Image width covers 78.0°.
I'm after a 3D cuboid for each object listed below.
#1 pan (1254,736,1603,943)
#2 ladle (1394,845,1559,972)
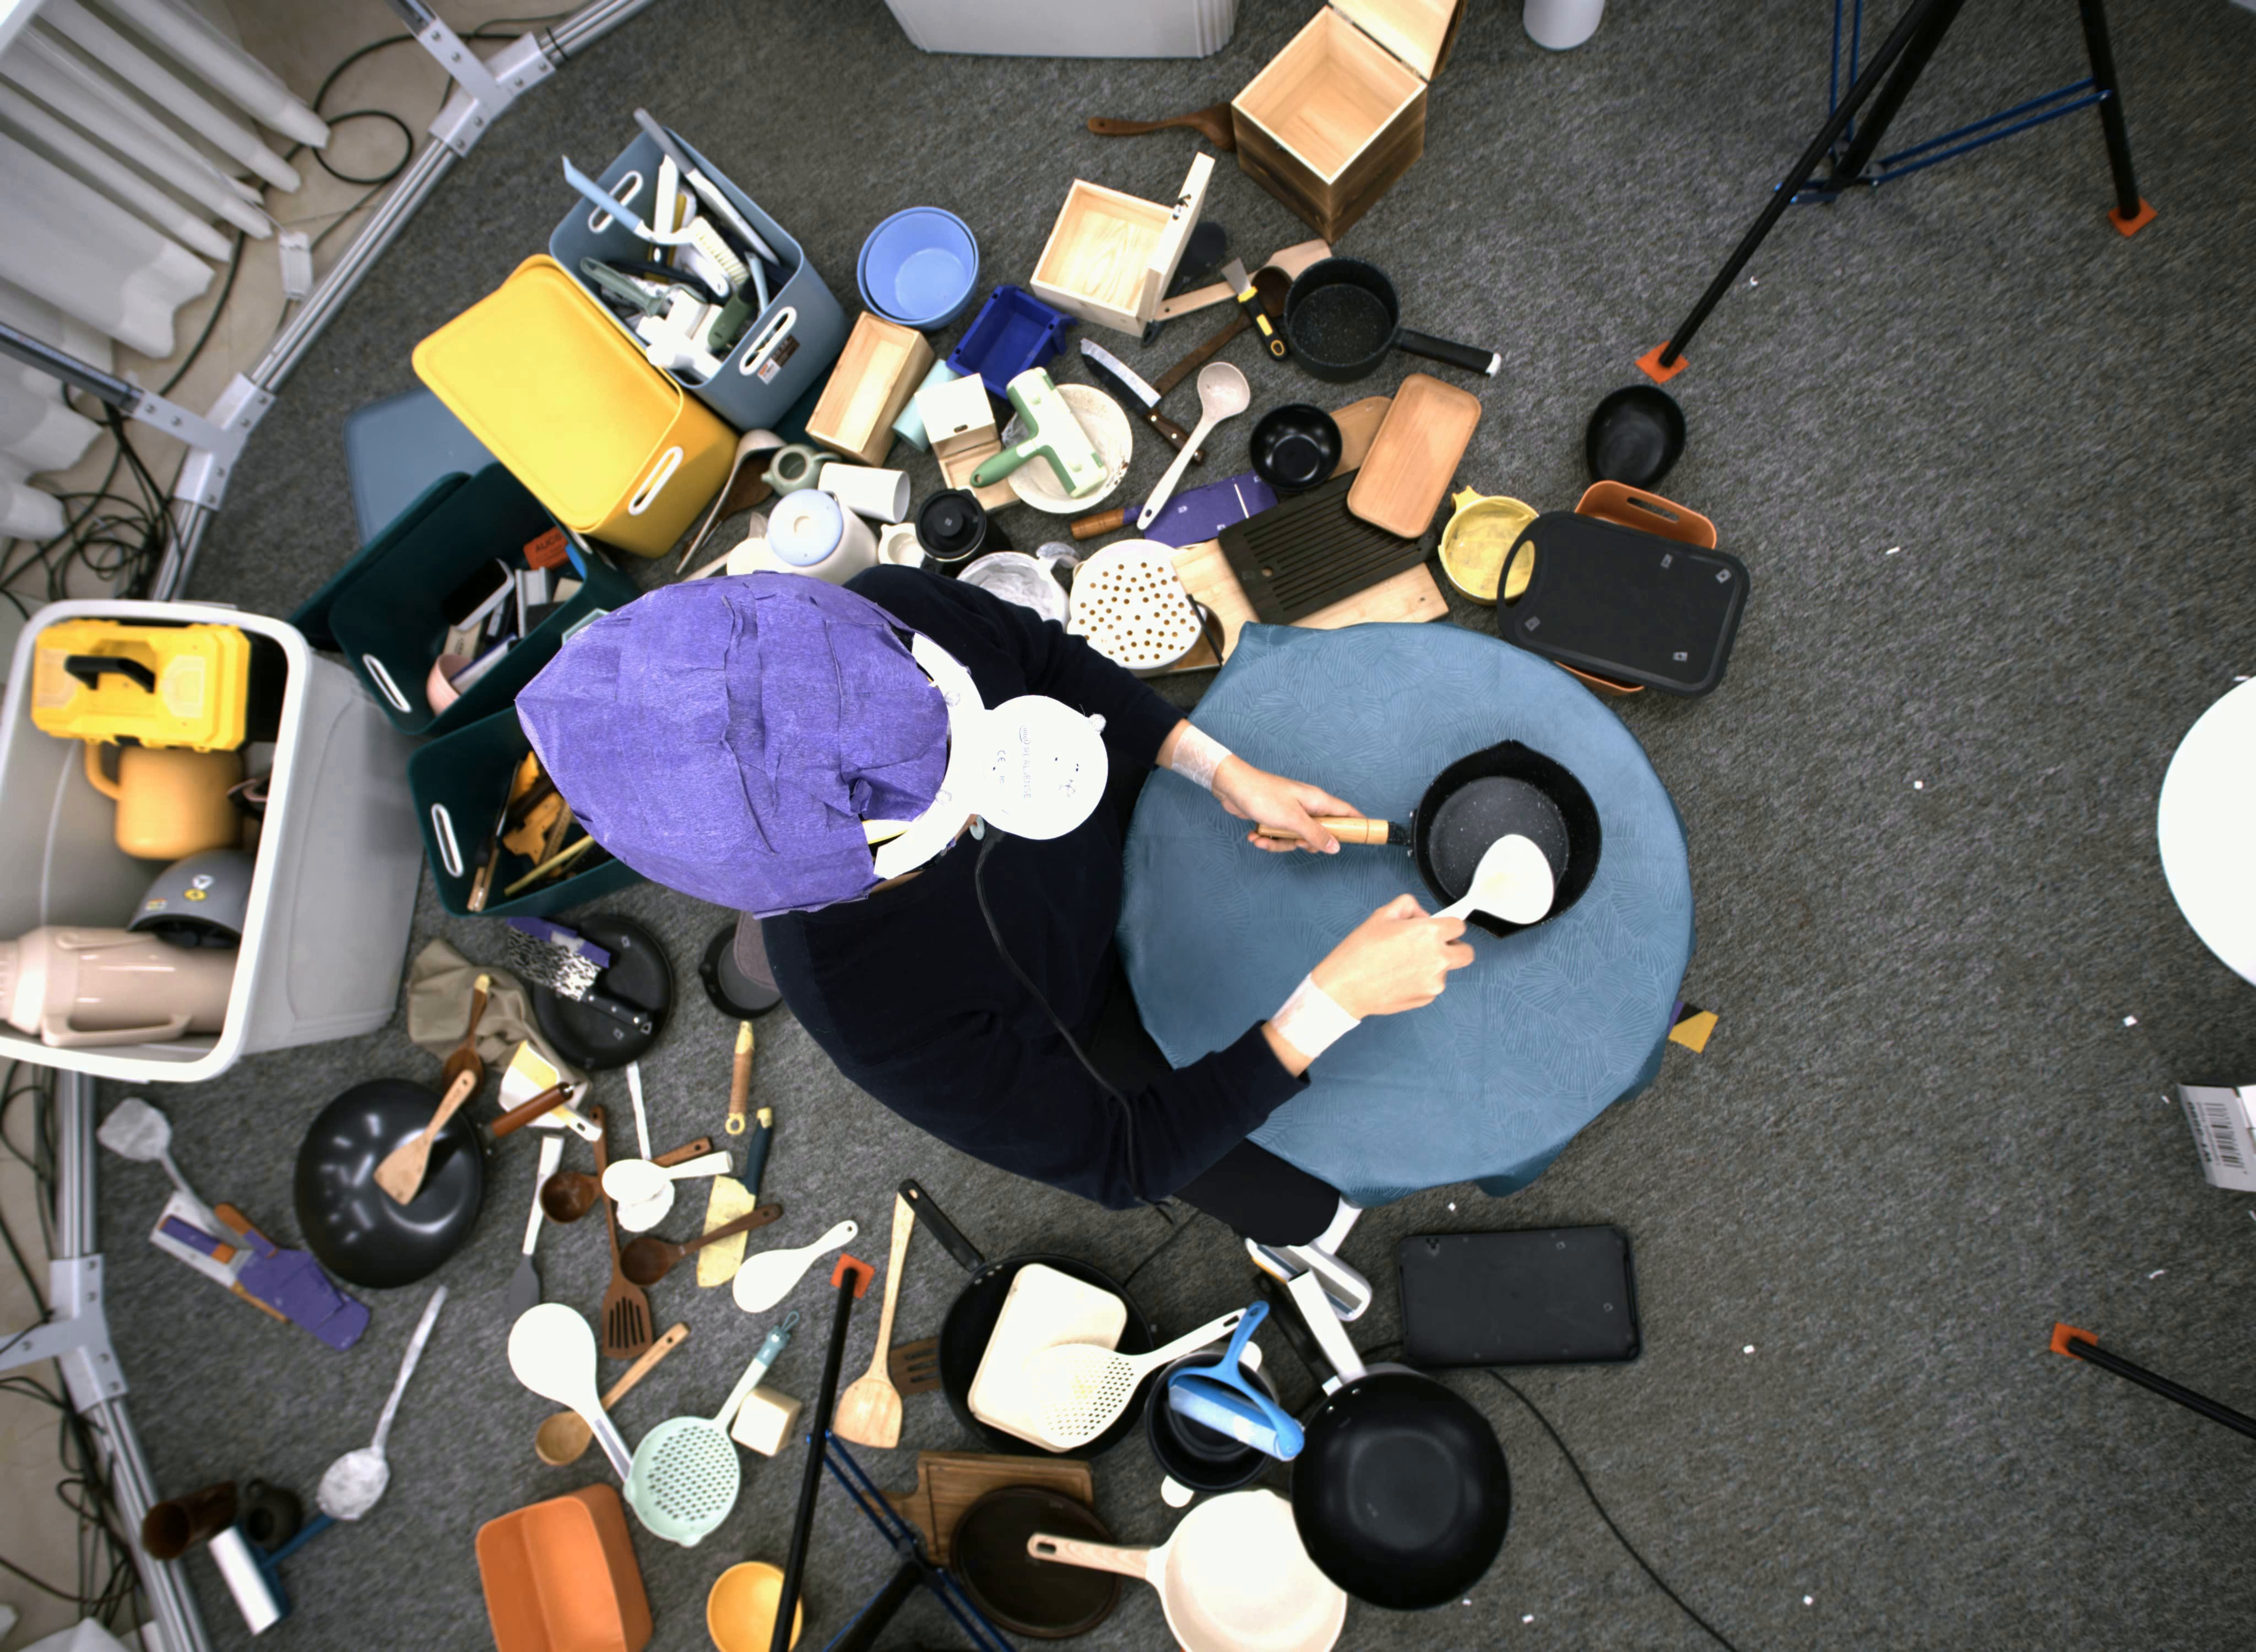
[{"bbox_3d":[0.301,0.011,1.402,0.344,0.108,0.207,2,88,9],"label":"pan"},{"bbox_3d":[0.331,0.081,1.282,0.071,0.289,0.090,-10,94,33],"label":"ladle"}]
